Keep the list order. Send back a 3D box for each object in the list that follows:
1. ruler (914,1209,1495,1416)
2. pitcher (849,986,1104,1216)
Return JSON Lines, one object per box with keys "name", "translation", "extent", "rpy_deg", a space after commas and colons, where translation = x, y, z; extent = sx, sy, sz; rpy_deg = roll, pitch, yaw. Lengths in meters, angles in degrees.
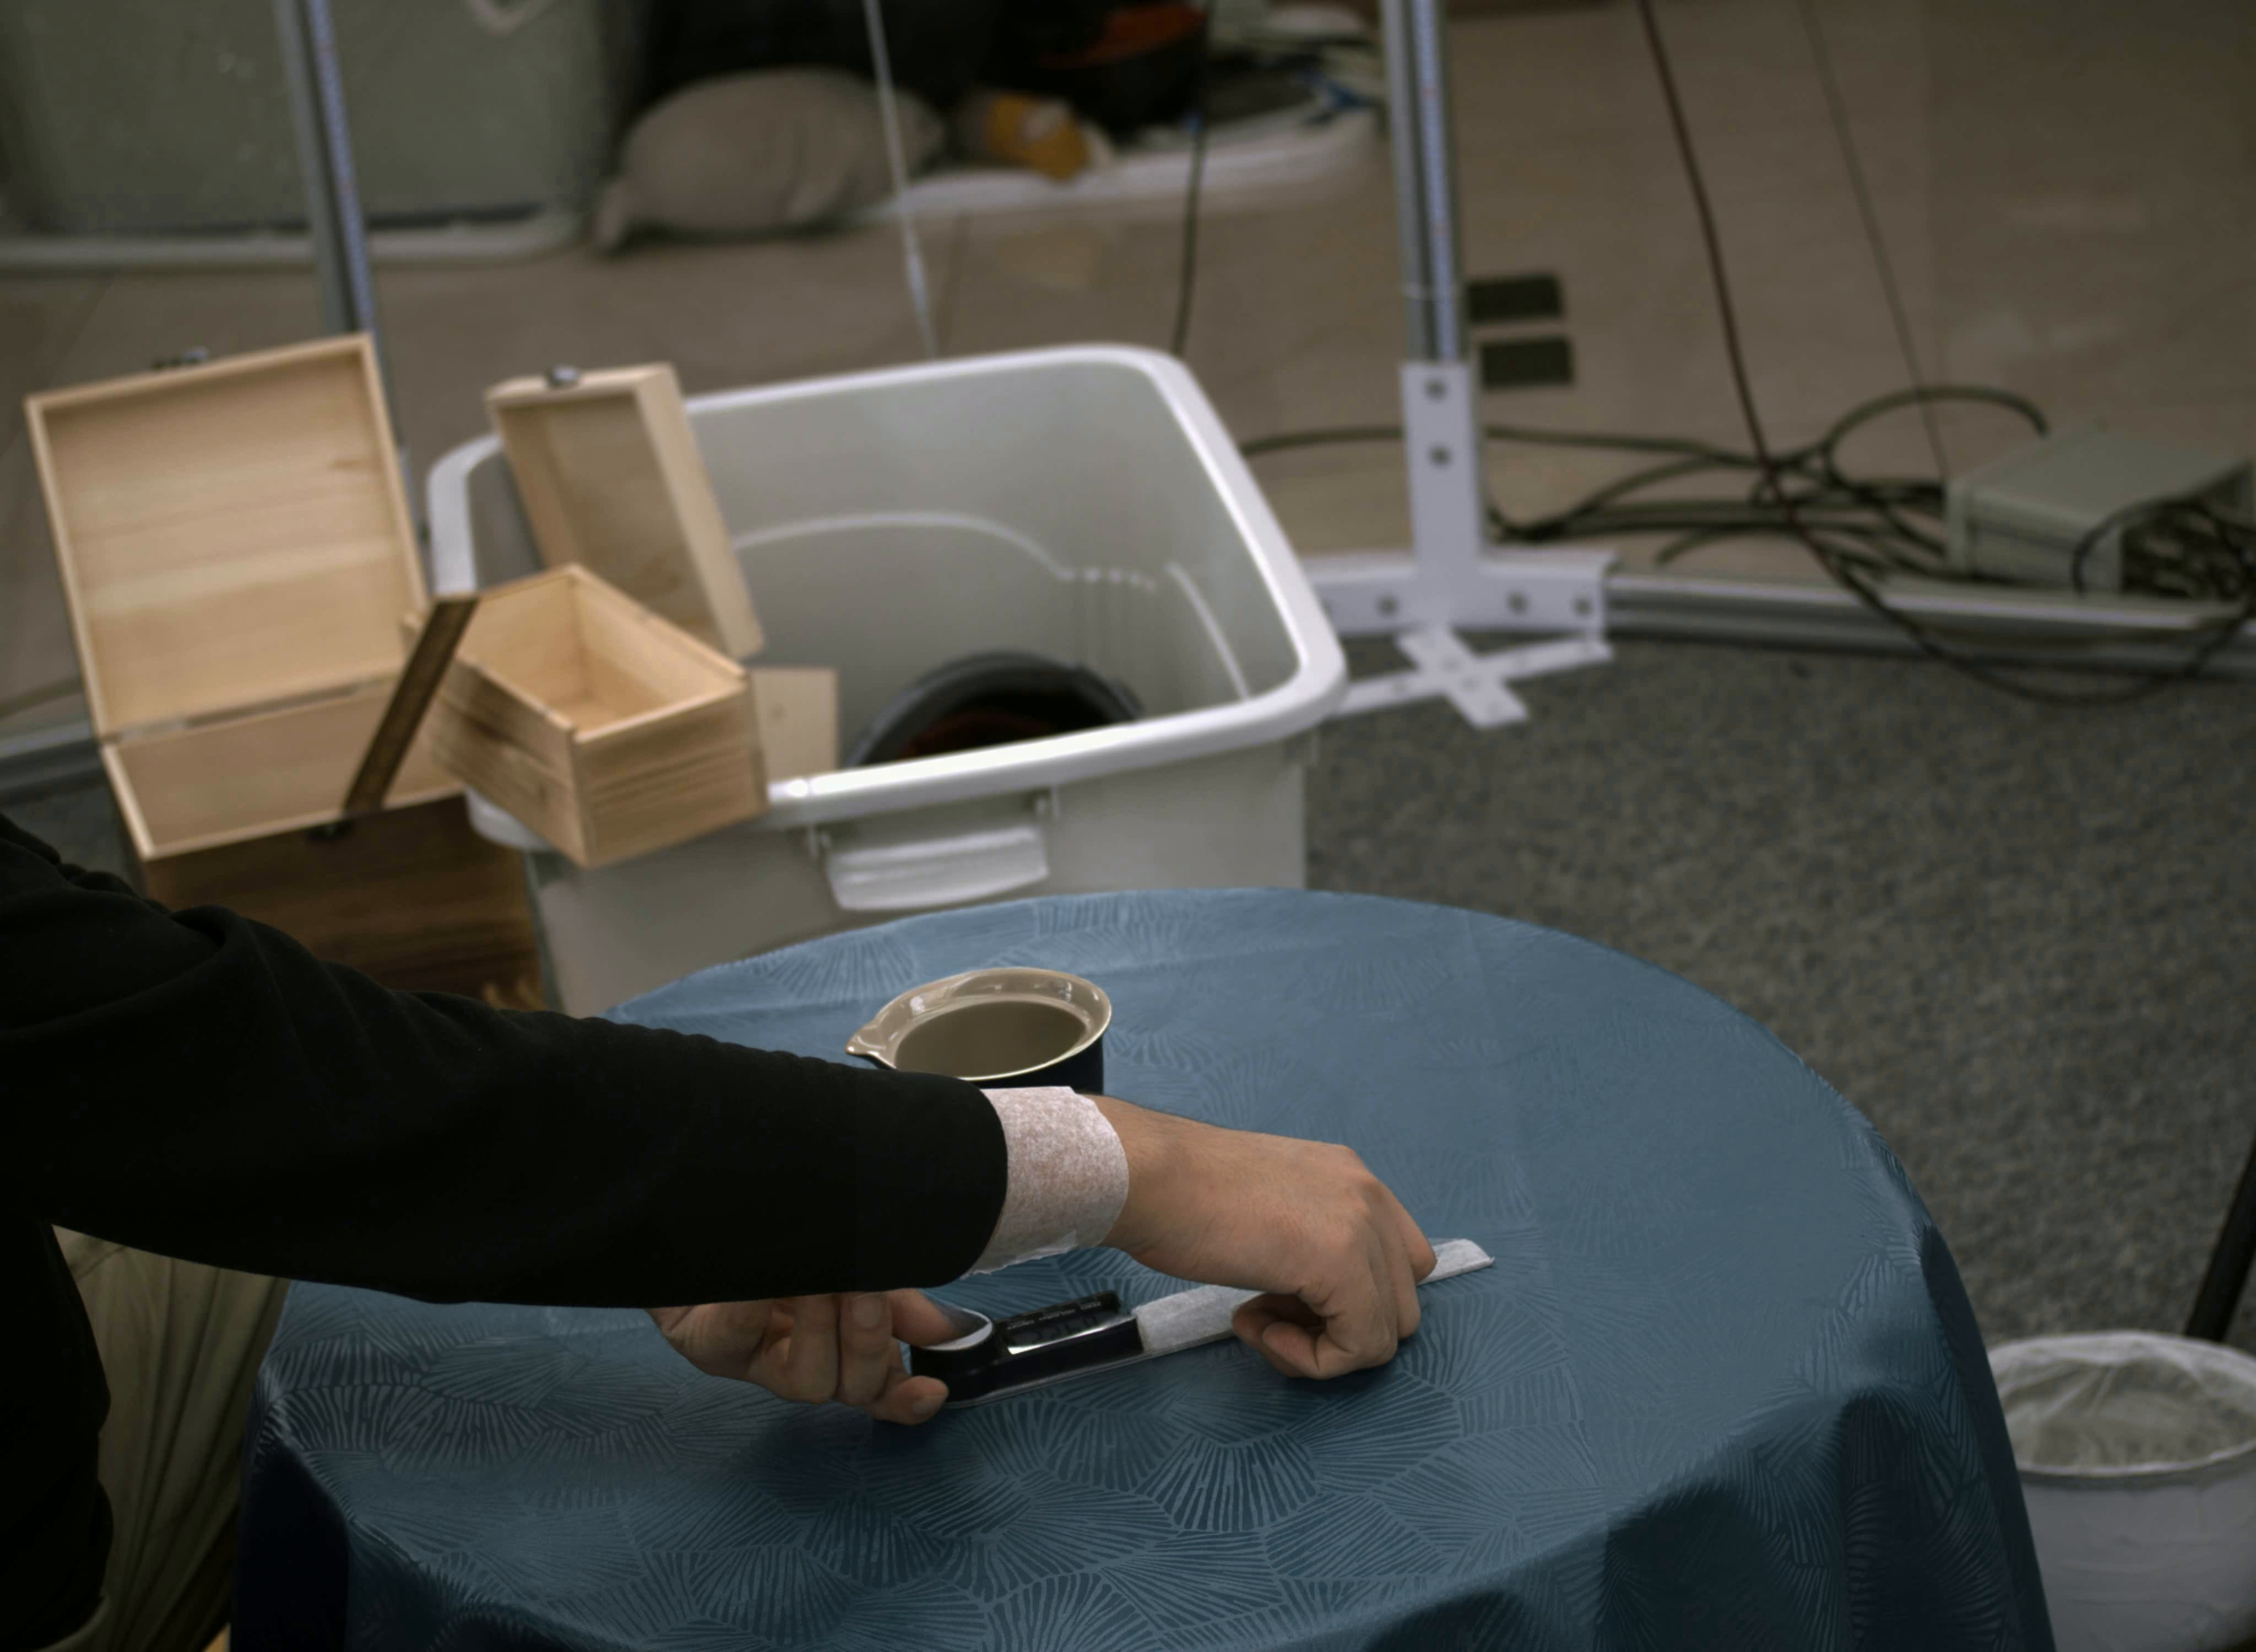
{"name": "ruler", "translation": [0.026, 0.169, 2.051], "extent": [0.217, 0.024, 0.038], "rpy_deg": [-15, 32, -14]}
{"name": "pitcher", "translation": [-0.054, 0.106, 2.146], "extent": [0.096, 0.072, 0.082], "rpy_deg": [-7, 26, -2]}
